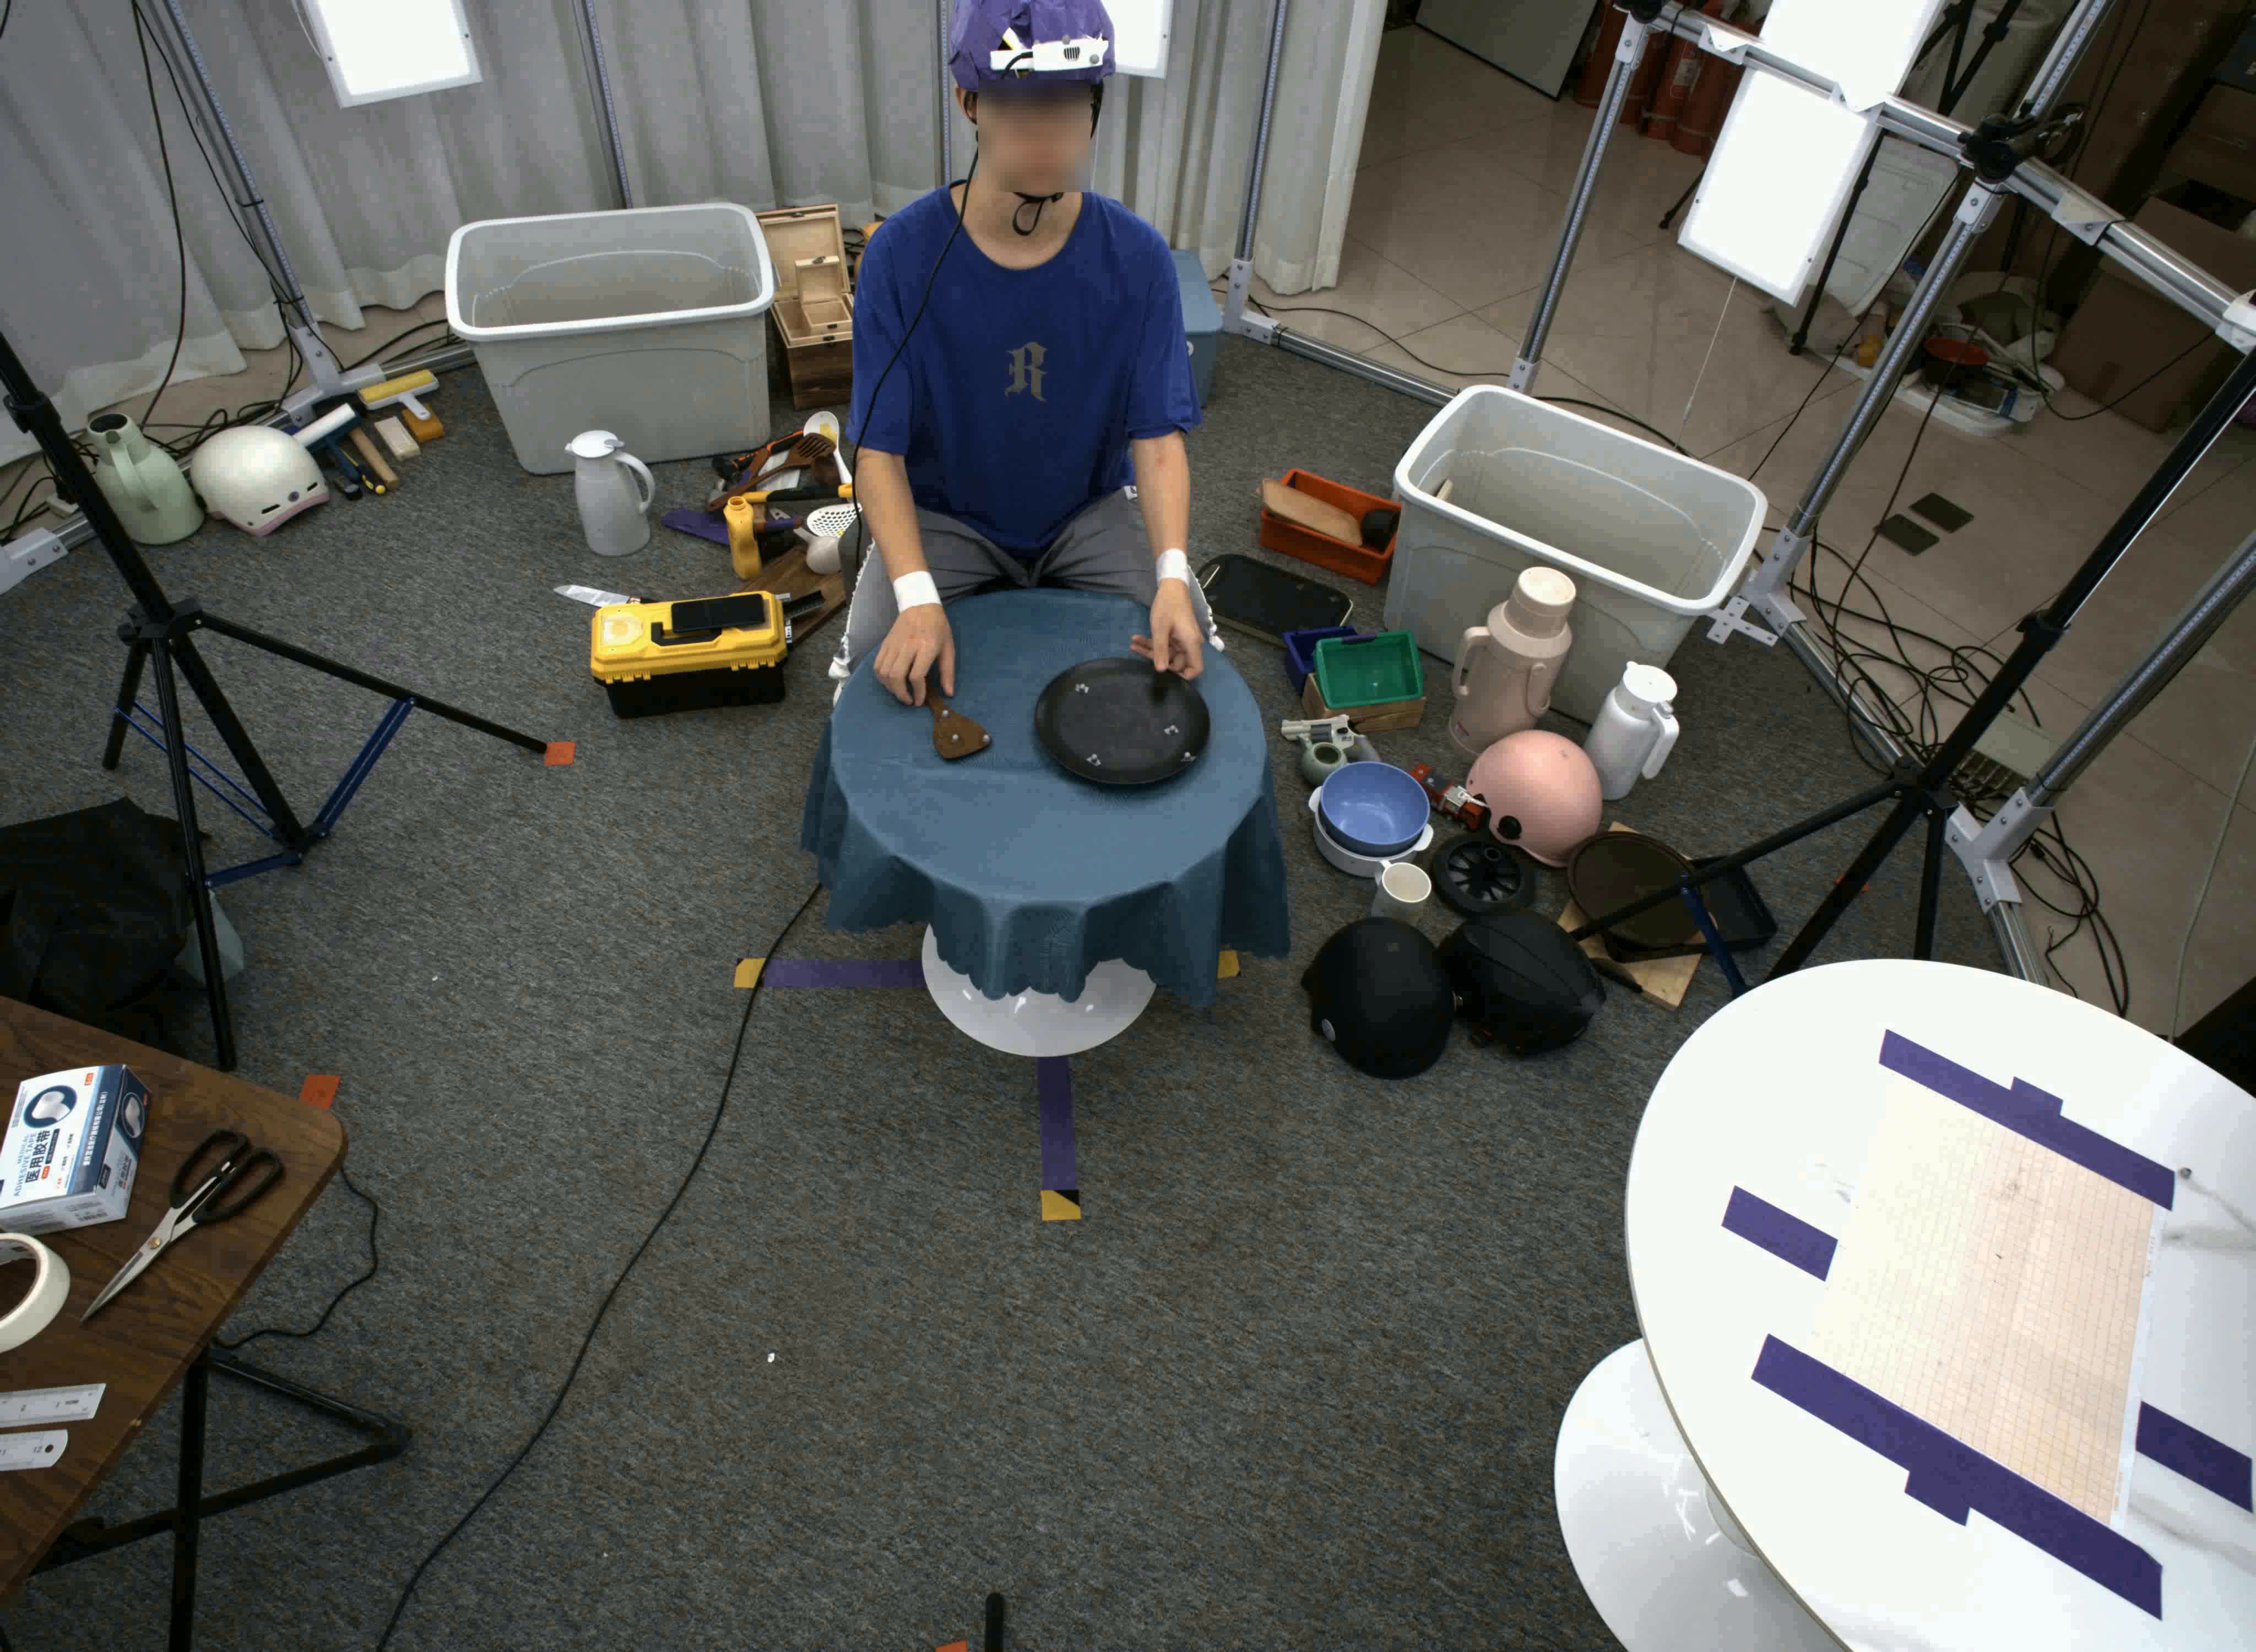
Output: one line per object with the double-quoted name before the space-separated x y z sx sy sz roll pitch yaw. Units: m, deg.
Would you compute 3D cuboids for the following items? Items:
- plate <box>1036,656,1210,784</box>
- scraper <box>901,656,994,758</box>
"plate" -0.007 -0.146 1.783 0.244 0.023 0.250 2 50 -2
"scraper" -0.263 -0.170 1.797 0.076 0.010 0.216 -22 54 -21
